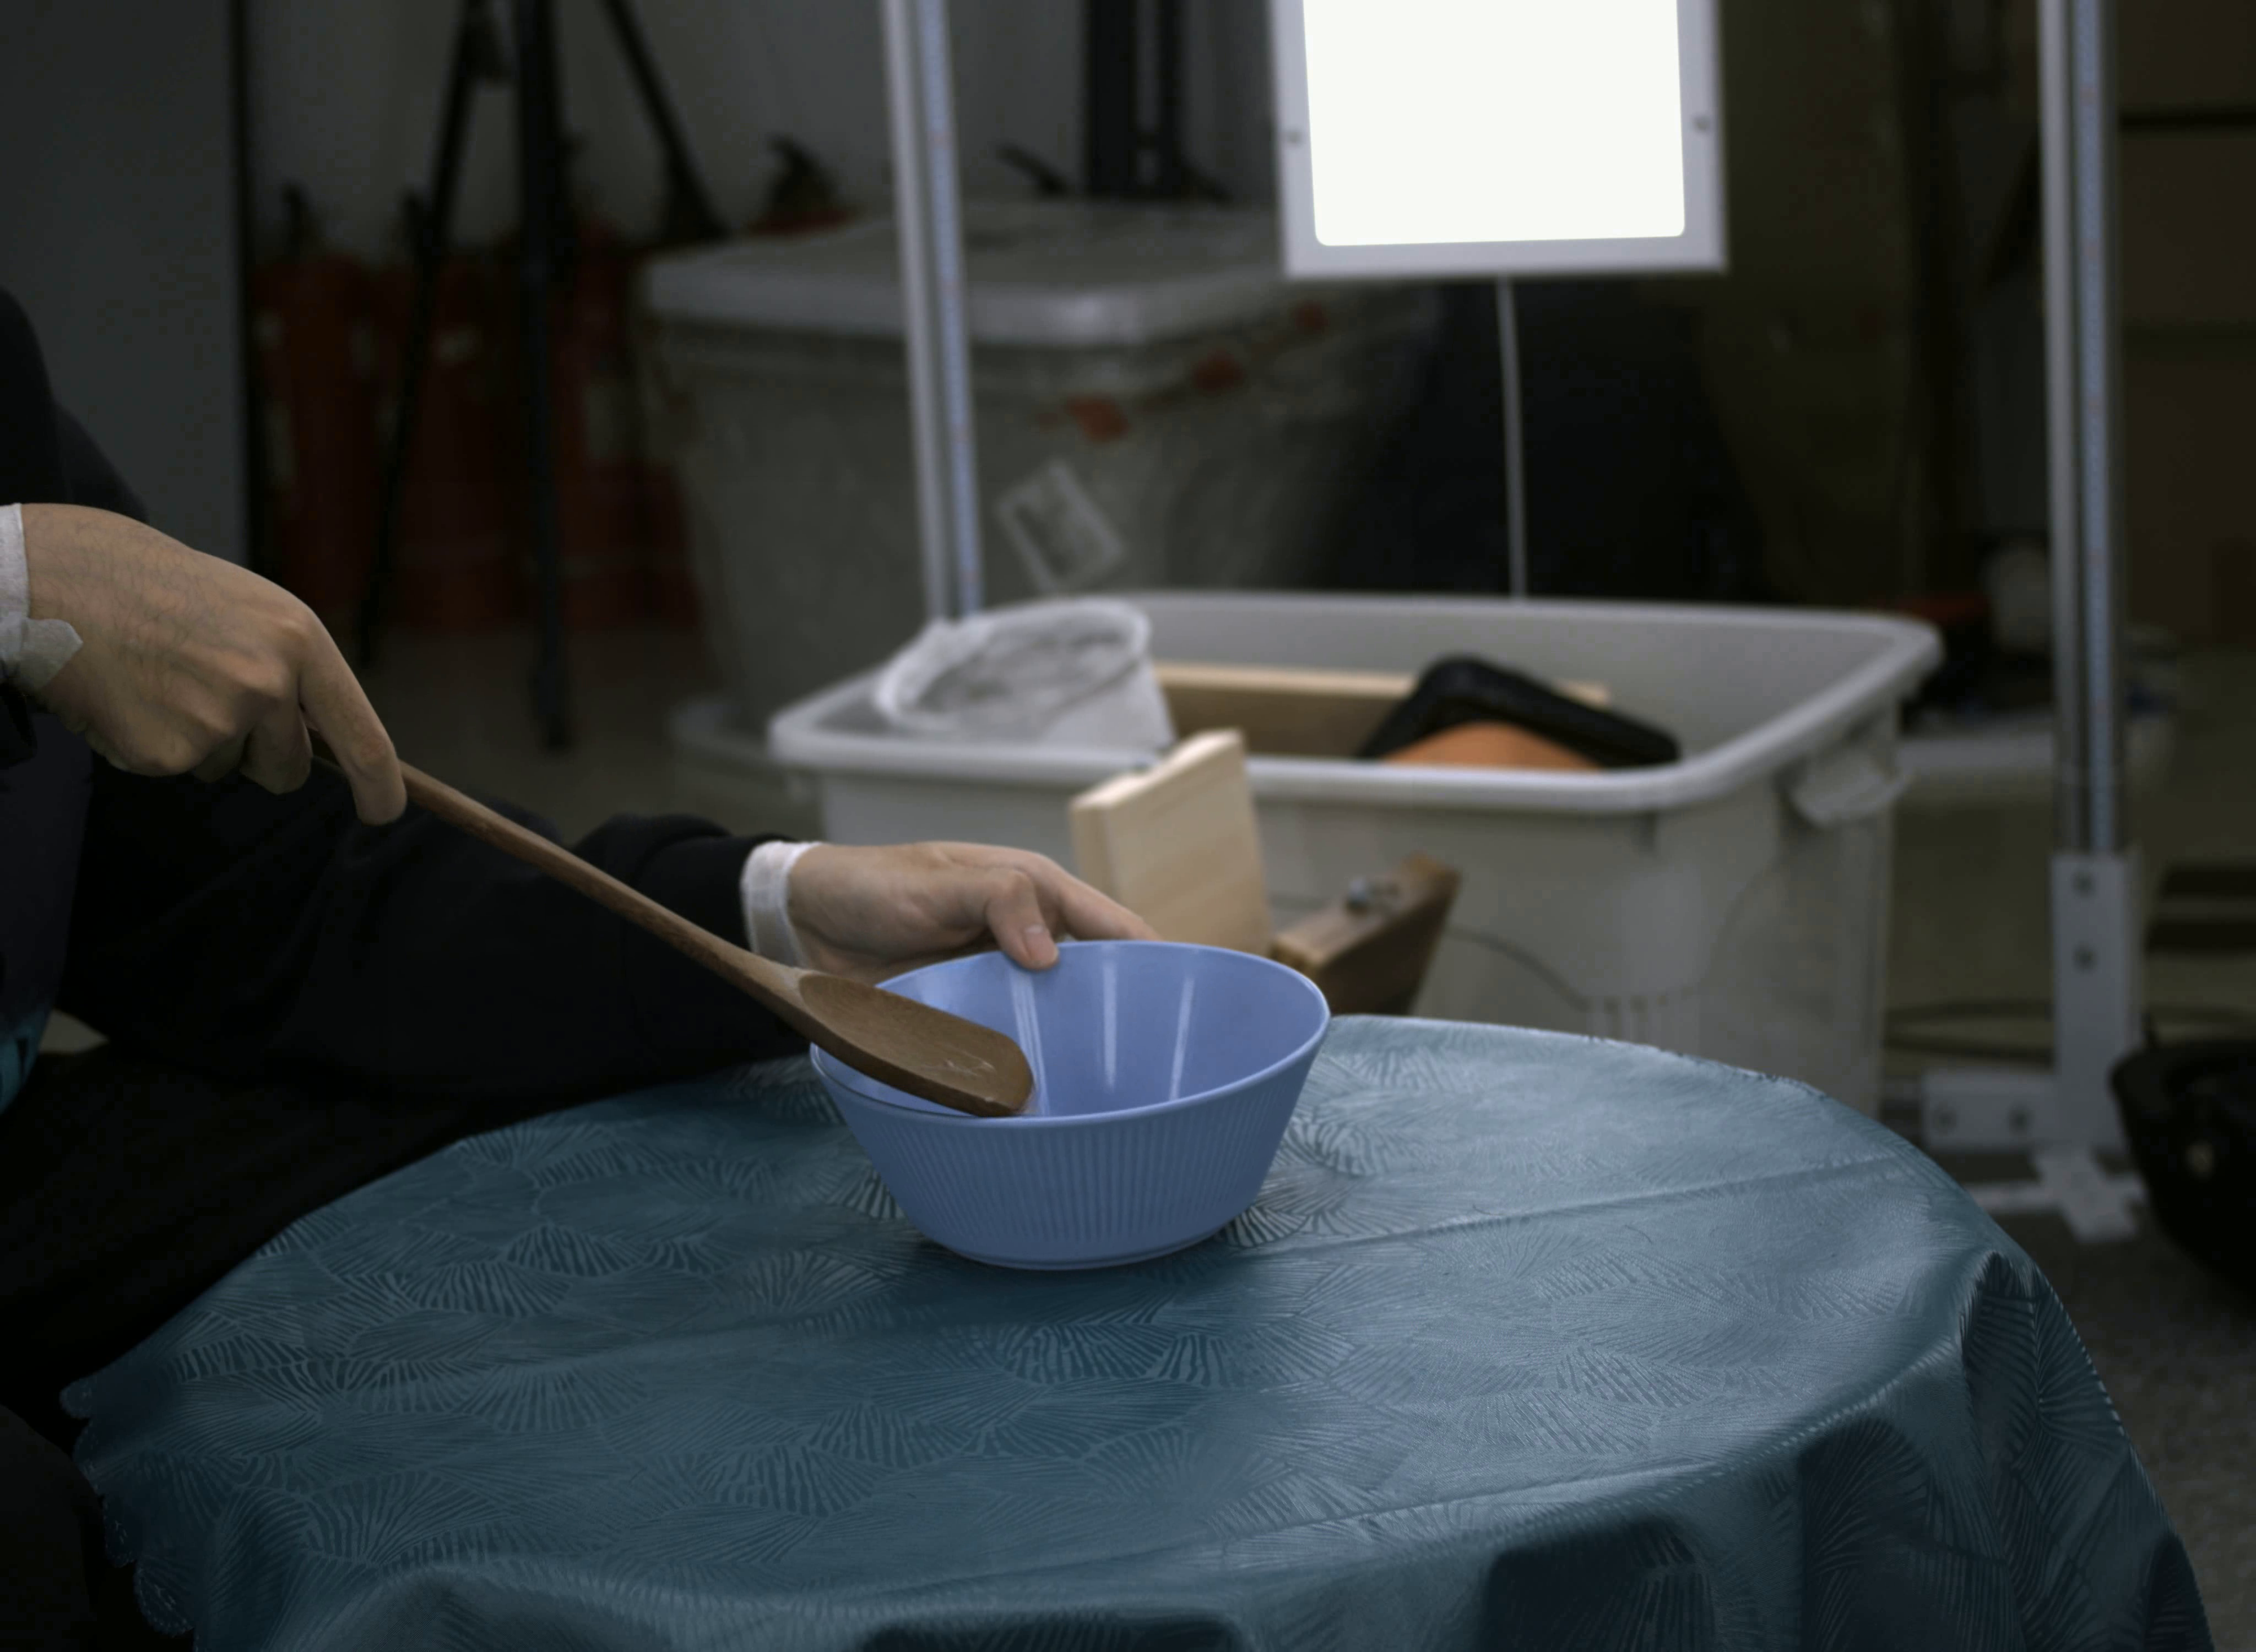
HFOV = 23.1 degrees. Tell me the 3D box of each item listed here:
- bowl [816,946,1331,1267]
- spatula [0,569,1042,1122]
[{"bbox_3d":[-0.016,0.098,1.859,0.175,0.070,0.176,-6,16,0],"label":"bowl"},{"bbox_3d":[-0.197,0.005,1.795,0.383,0.016,0.096,28,11,-8],"label":"spatula"}]
